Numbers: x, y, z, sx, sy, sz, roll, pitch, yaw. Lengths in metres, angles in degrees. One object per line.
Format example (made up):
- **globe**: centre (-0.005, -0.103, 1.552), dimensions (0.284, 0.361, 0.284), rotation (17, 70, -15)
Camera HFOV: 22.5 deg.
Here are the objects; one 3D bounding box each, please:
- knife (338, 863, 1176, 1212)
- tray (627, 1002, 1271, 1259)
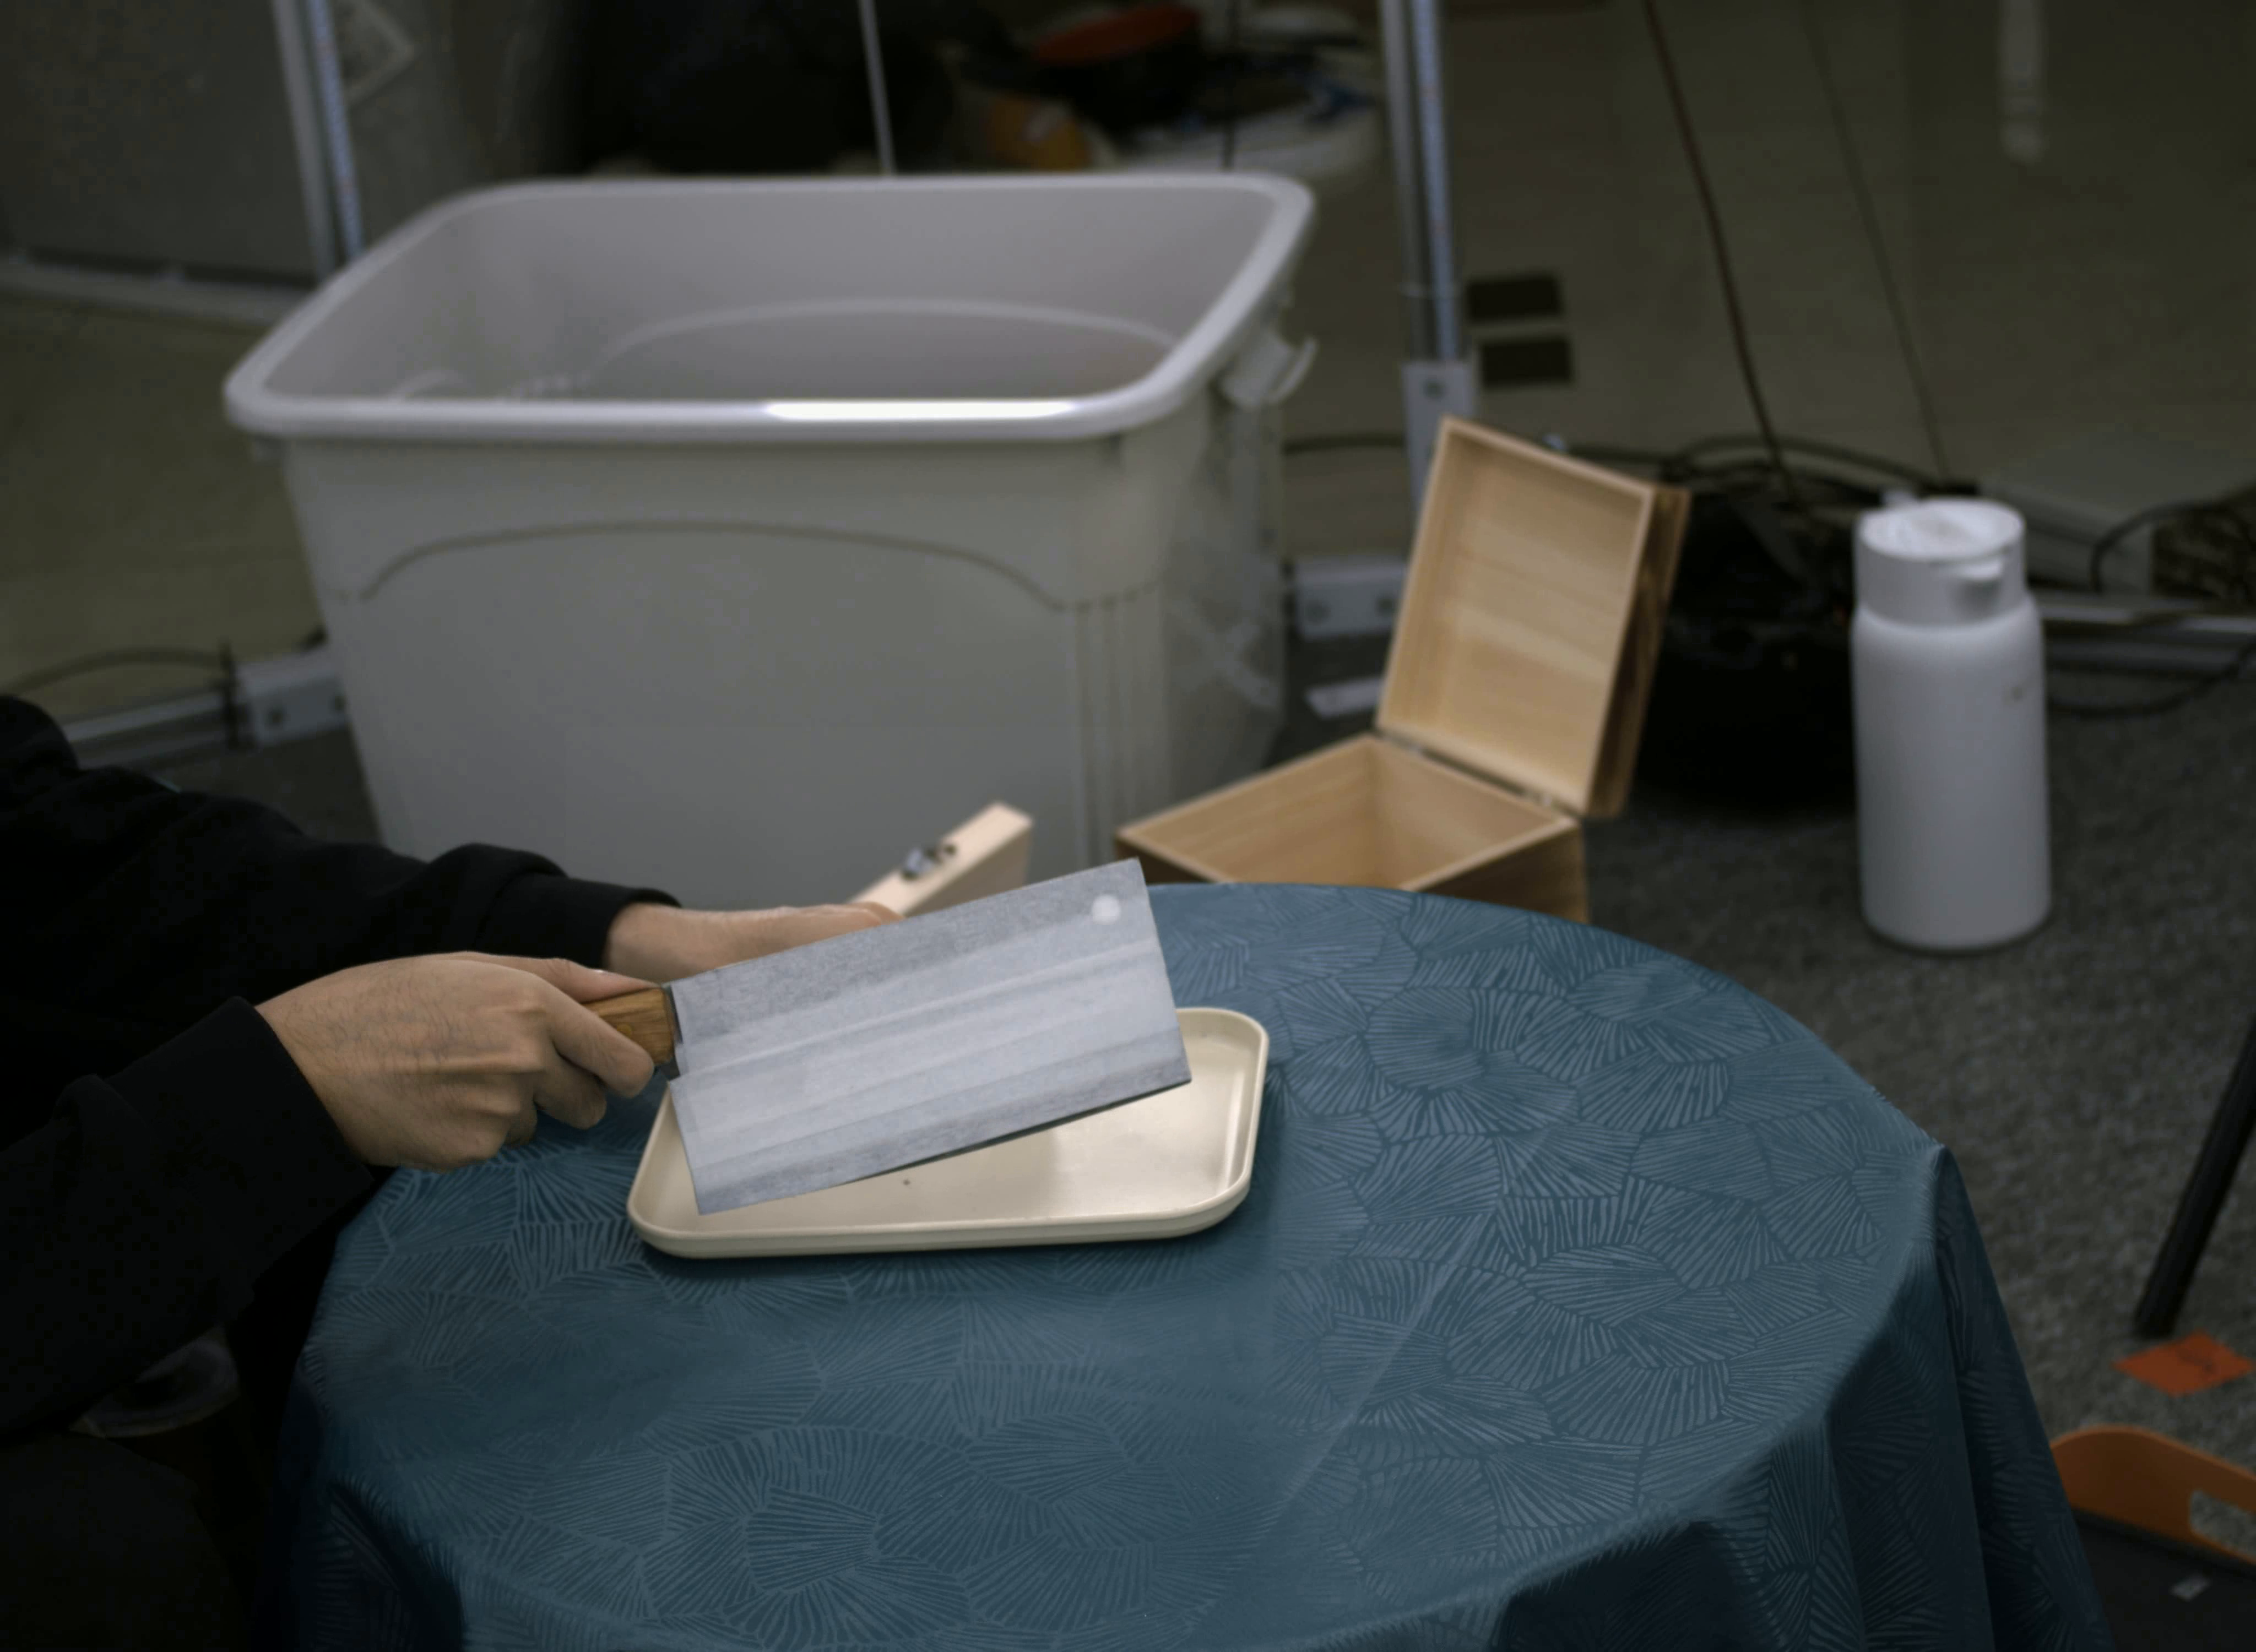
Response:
- **knife**: centre (-0.133, 0.091, 2.082), dimensions (0.305, 0.094, 0.021), rotation (-14, 17, -6)
- **tray**: centre (-0.066, 0.118, 2.184), dimensions (0.239, 0.018, 0.168), rotation (-2, 27, 8)
